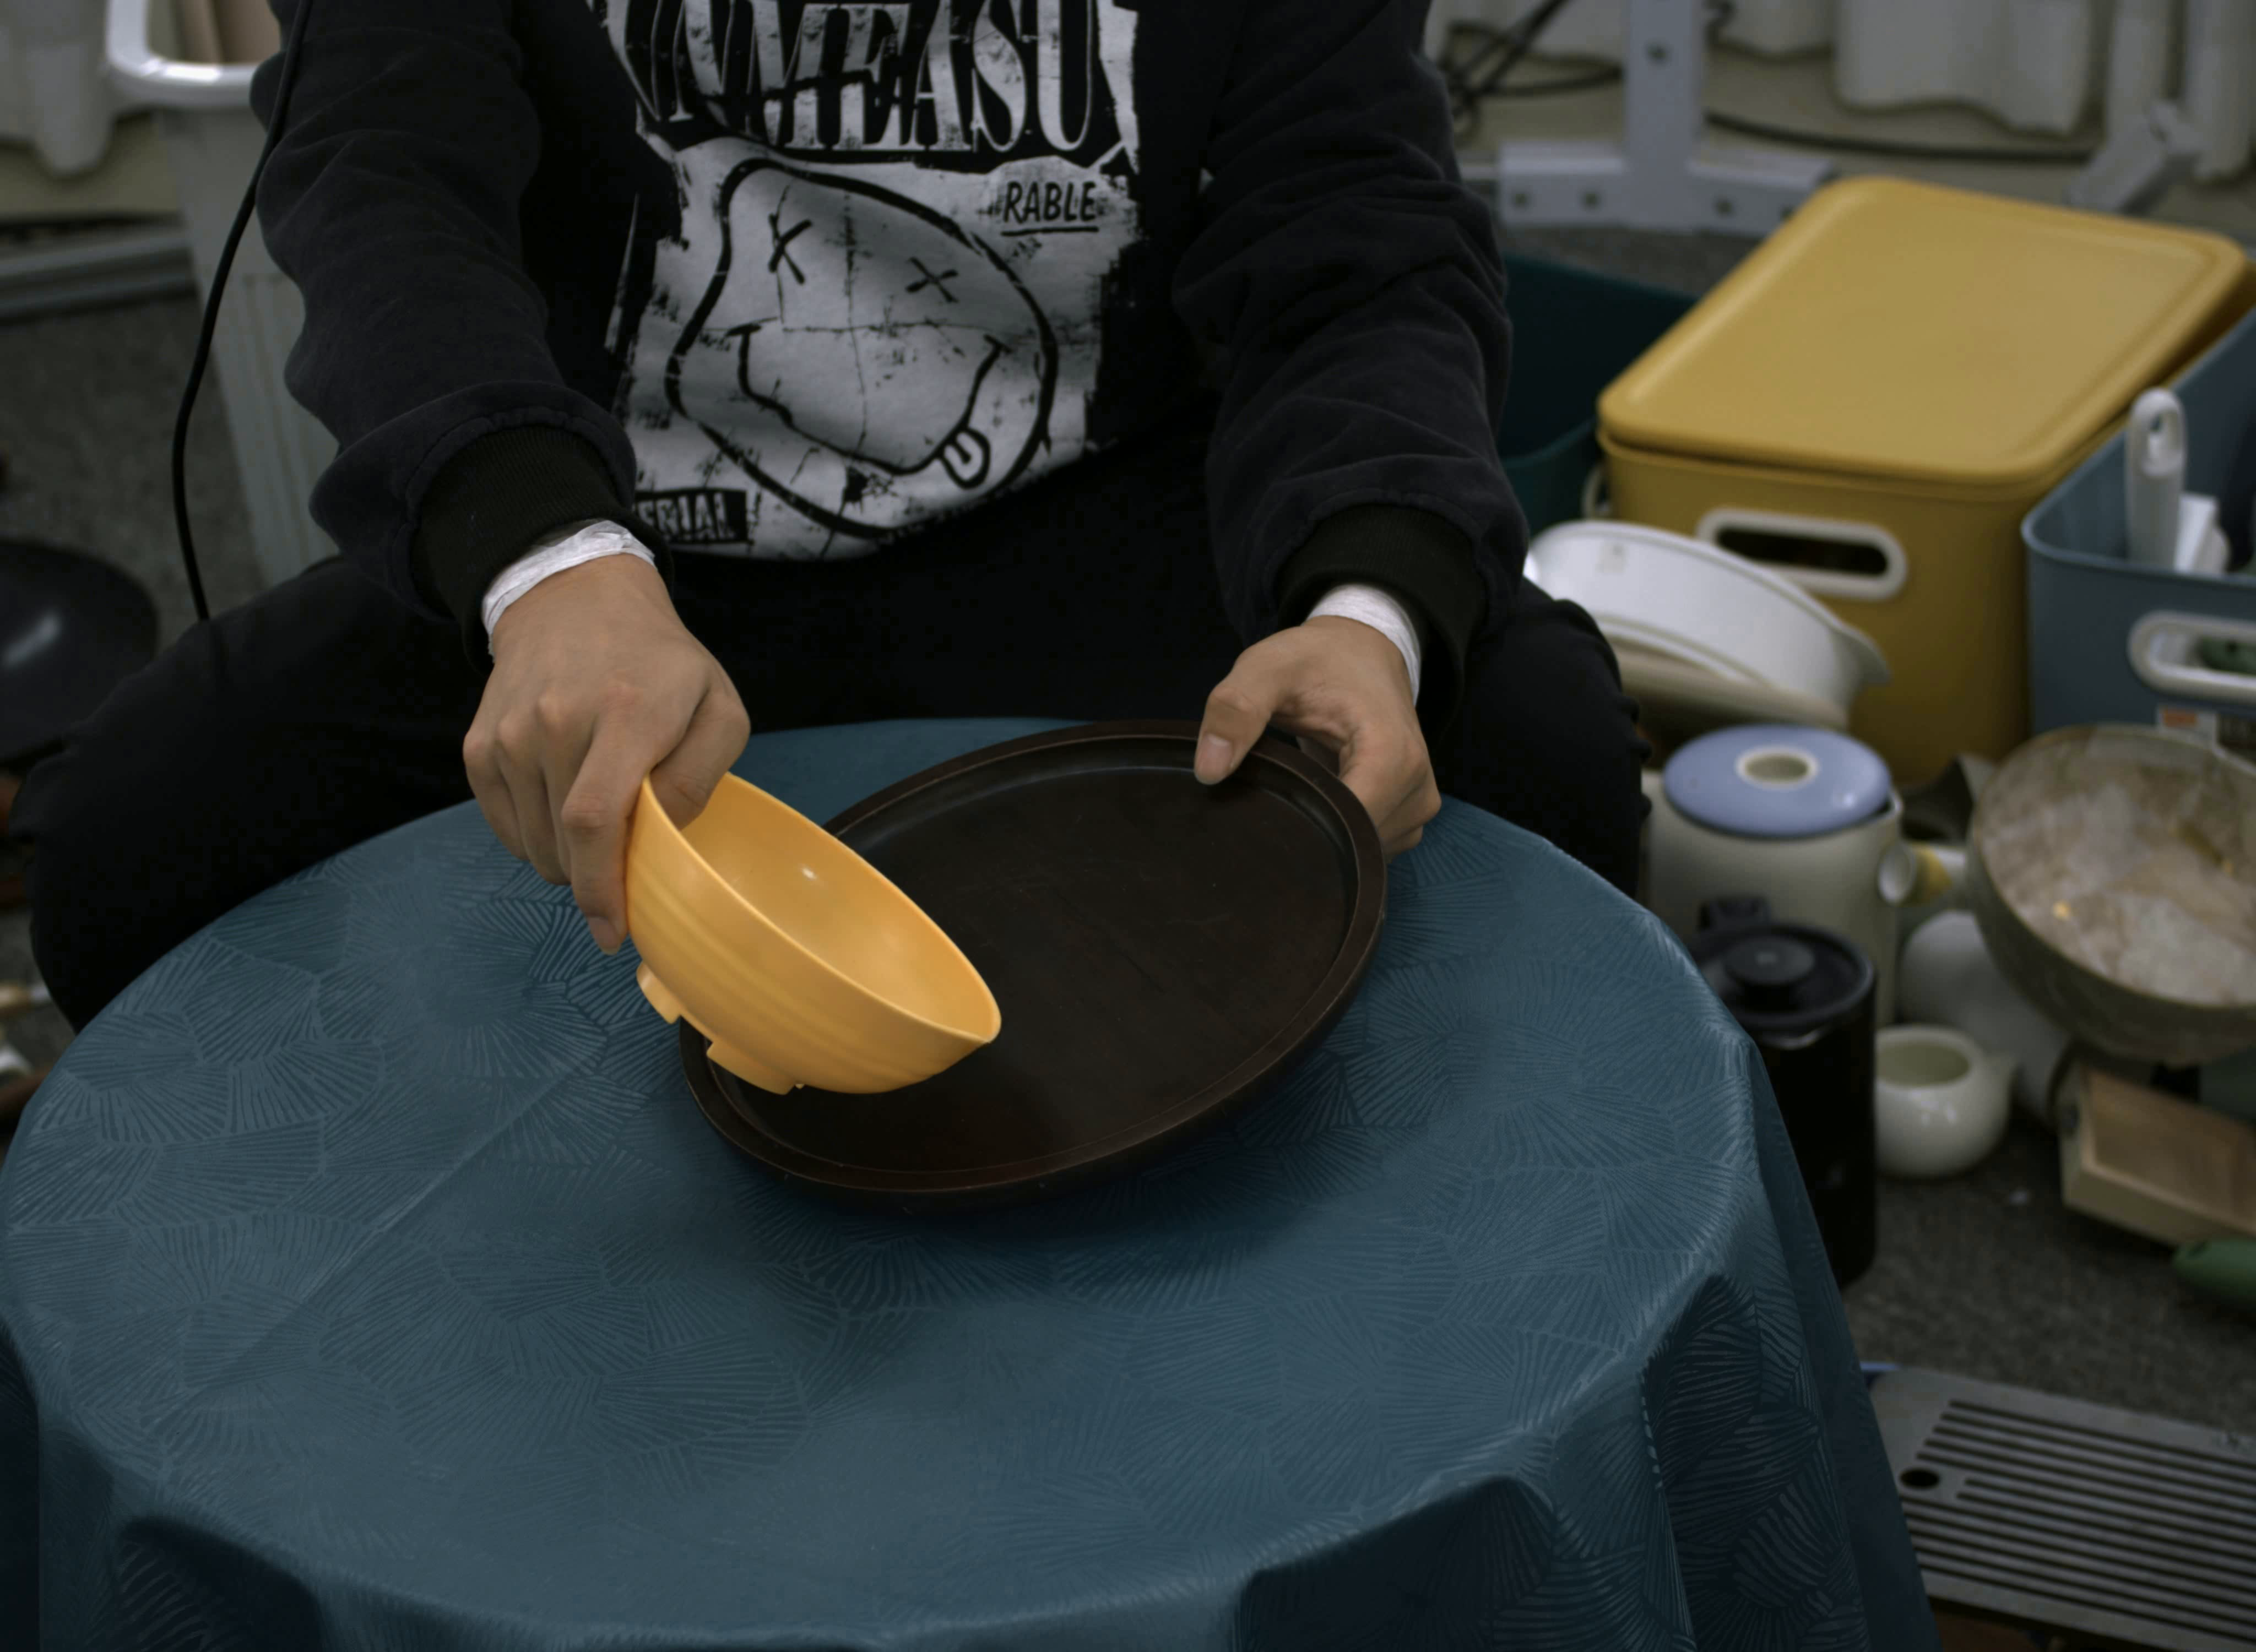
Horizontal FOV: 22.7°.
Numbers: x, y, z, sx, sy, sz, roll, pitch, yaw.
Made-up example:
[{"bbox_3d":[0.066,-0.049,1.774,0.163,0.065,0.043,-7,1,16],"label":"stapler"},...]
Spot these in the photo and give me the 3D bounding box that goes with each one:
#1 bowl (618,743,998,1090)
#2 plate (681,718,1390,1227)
[{"bbox_3d":[-0.115,0.042,1.820,0.145,0.060,0.146,37,12,-8],"label":"bowl"},{"bbox_3d":[-0.031,0.049,1.922,0.253,0.029,0.259,-14,34,10],"label":"plate"}]
